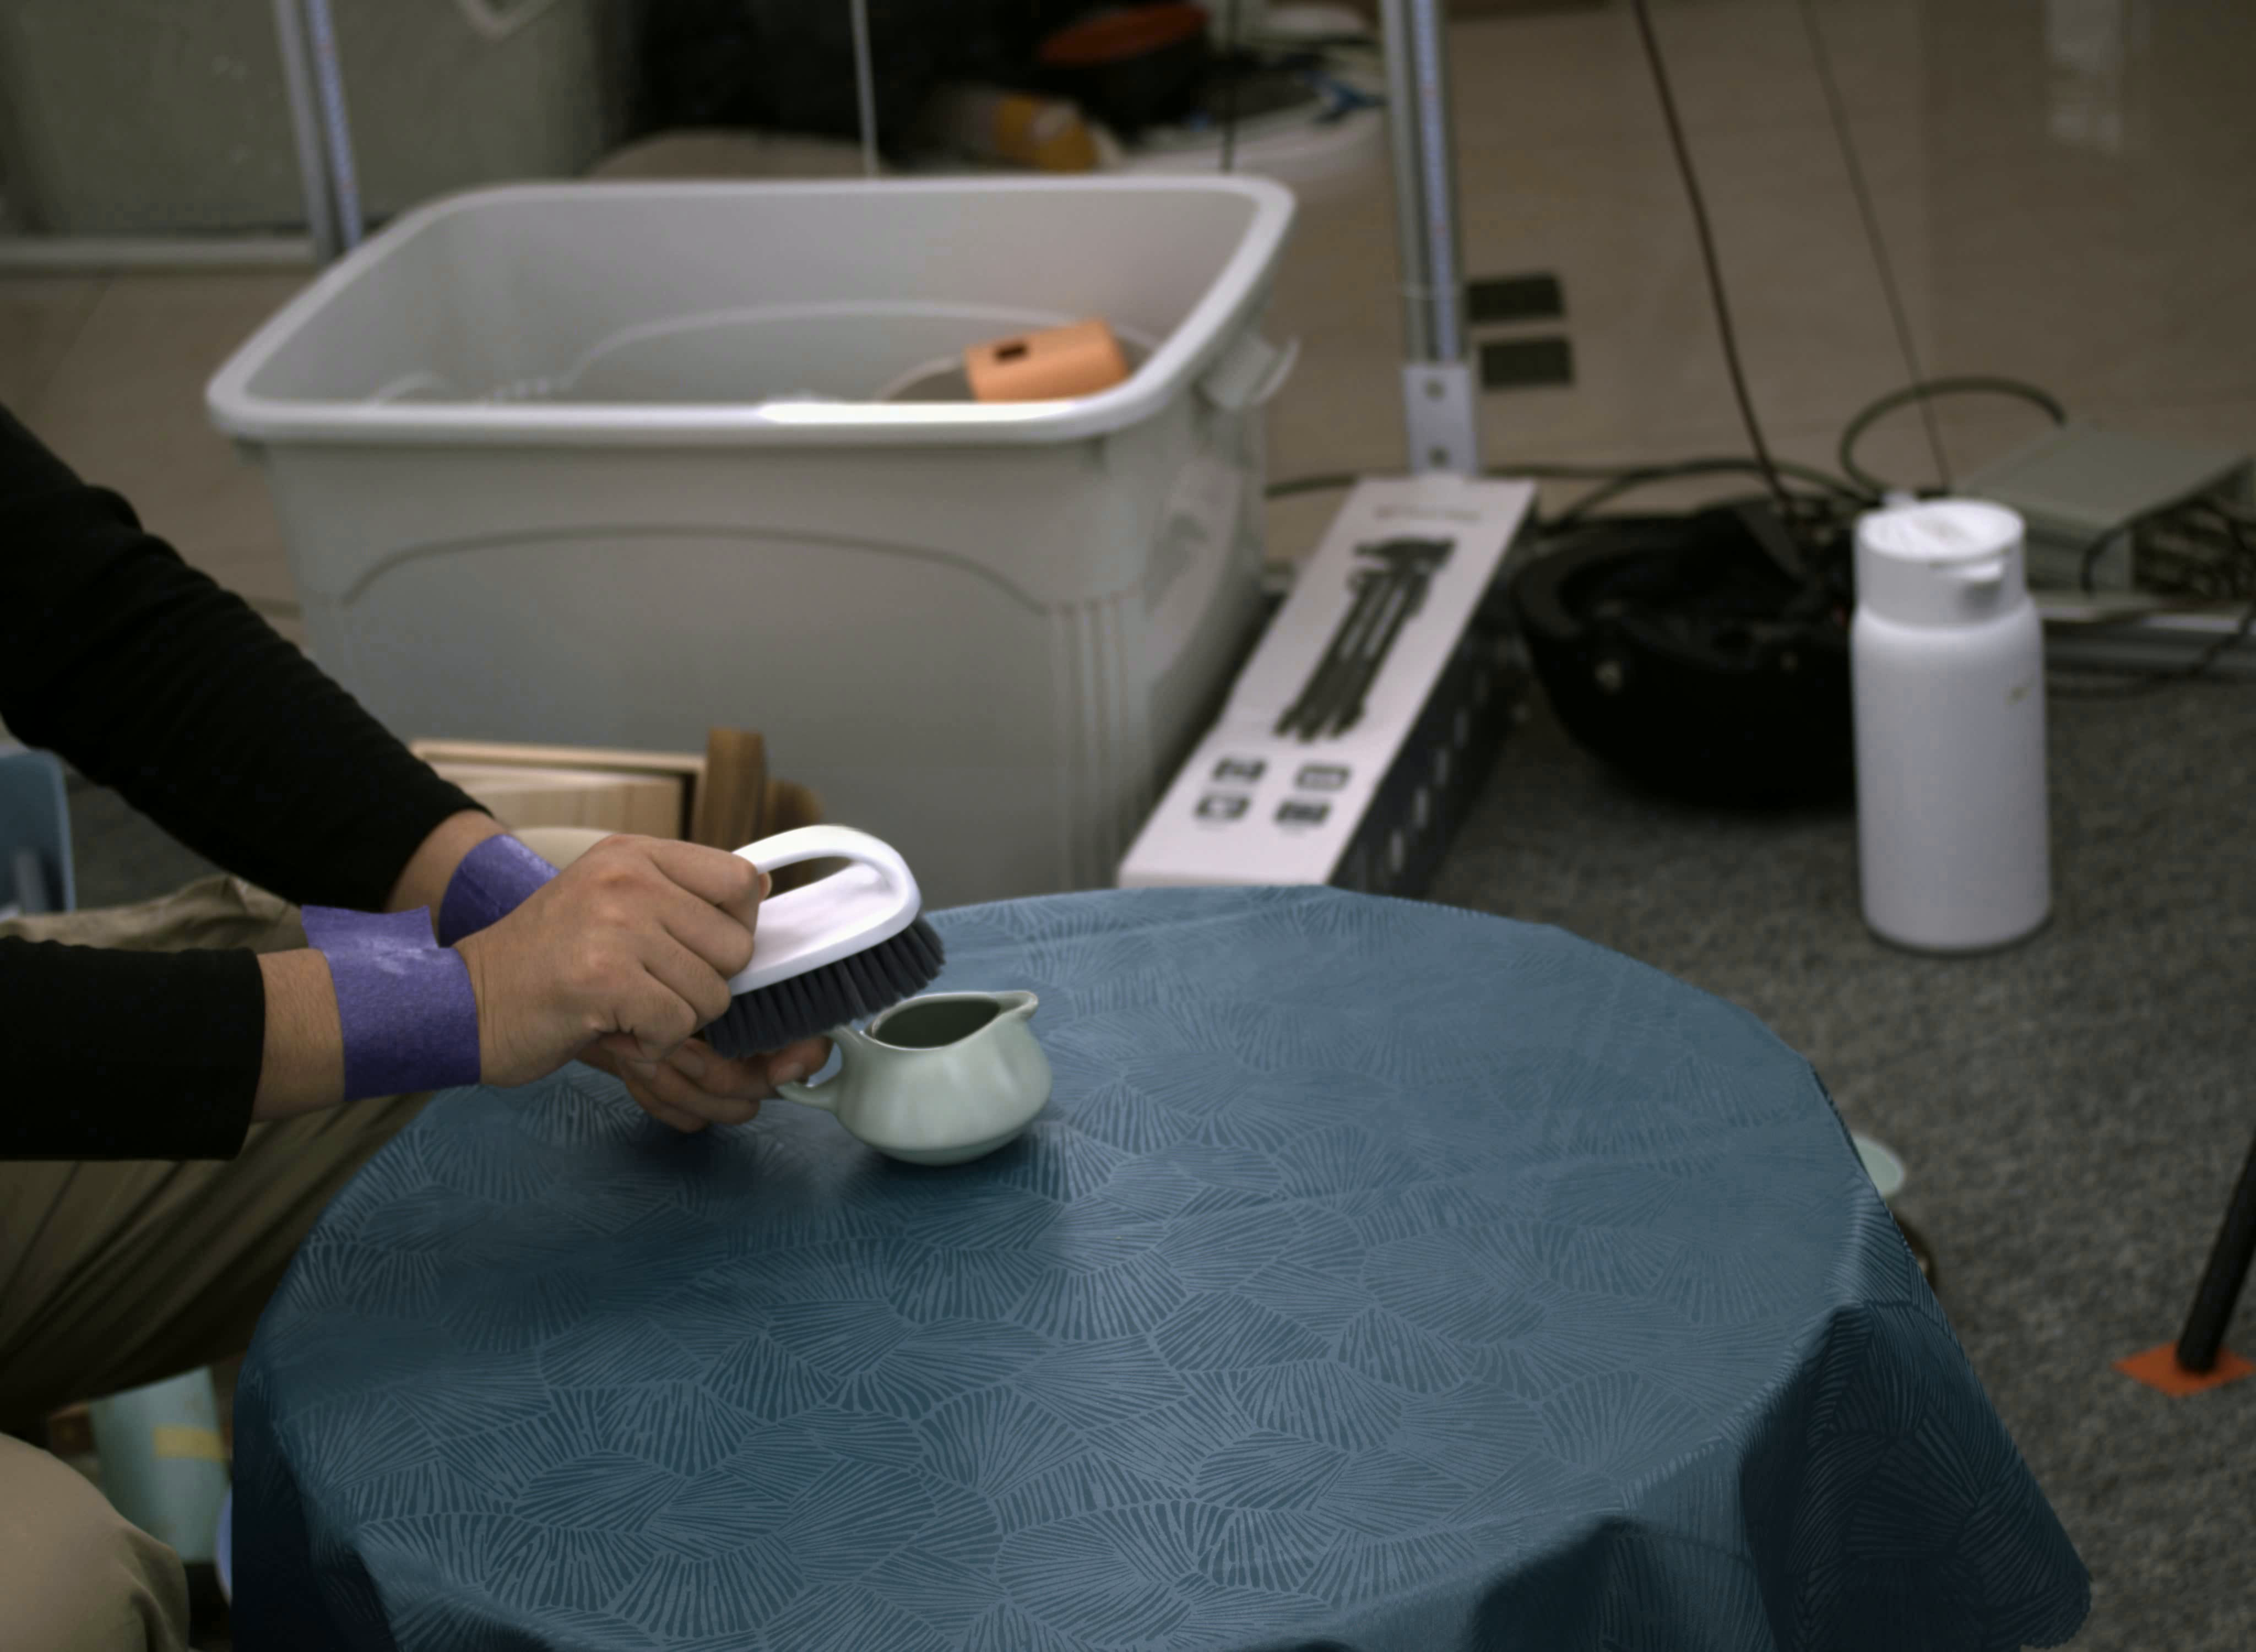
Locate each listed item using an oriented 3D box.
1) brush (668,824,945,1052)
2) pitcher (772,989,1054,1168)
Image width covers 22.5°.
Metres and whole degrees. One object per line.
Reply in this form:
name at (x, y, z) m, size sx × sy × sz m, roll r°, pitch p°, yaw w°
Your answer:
brush at (-0.127, 0.036, 2.144) m, size 0.099 × 0.074 × 0.049 m, roll -18°, pitch 31°, yaw 3°
pitcher at (-0.083, 0.098, 2.189) m, size 0.108 × 0.061 × 0.085 m, roll -10°, pitch 25°, yaw -1°
